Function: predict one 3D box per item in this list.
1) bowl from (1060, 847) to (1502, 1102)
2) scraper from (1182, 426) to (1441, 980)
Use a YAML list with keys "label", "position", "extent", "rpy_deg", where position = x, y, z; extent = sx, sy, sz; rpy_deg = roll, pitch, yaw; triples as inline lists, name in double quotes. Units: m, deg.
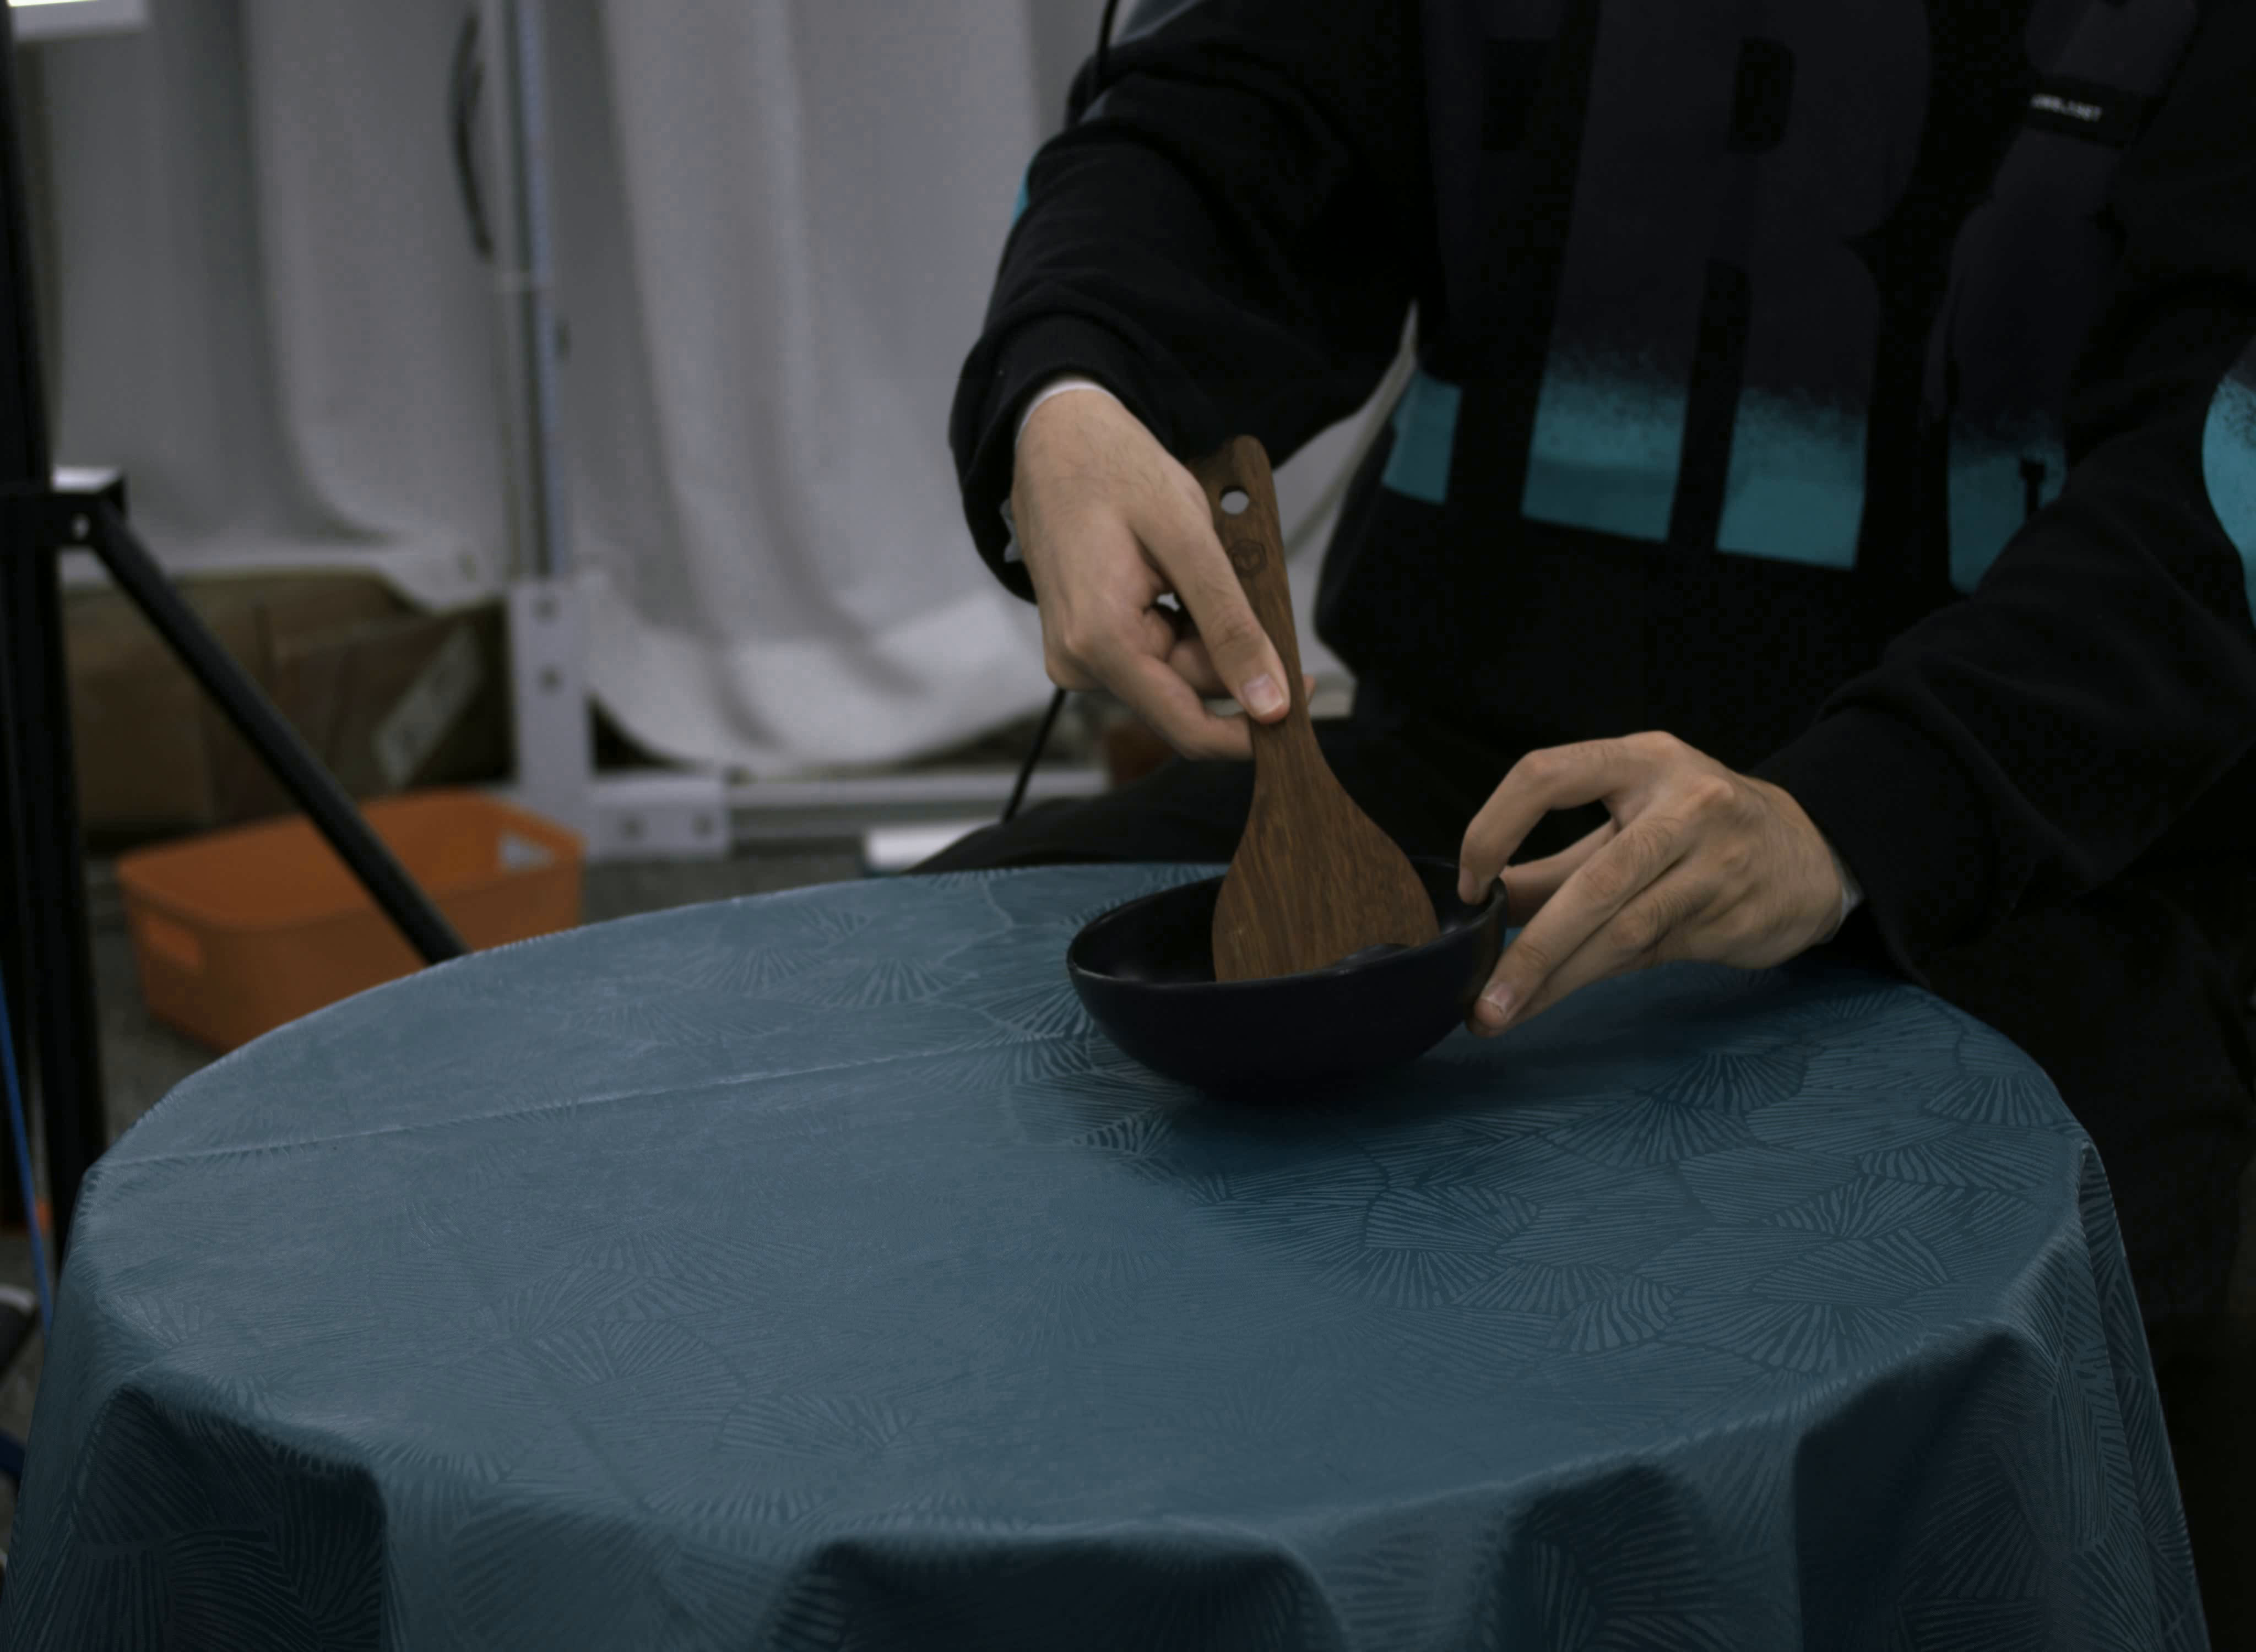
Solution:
- label: "bowl"
  position: [0.051, 0.051, 1.638]
  extent: [0.139, 0.050, 0.140]
  rpy_deg: [-12, 13, 1]
- label: "scraper"
  position: [0.049, -0.030, 1.688]
  extent: [0.075, 0.214, 0.011]
  rpy_deg: [-12, -21, 3]
